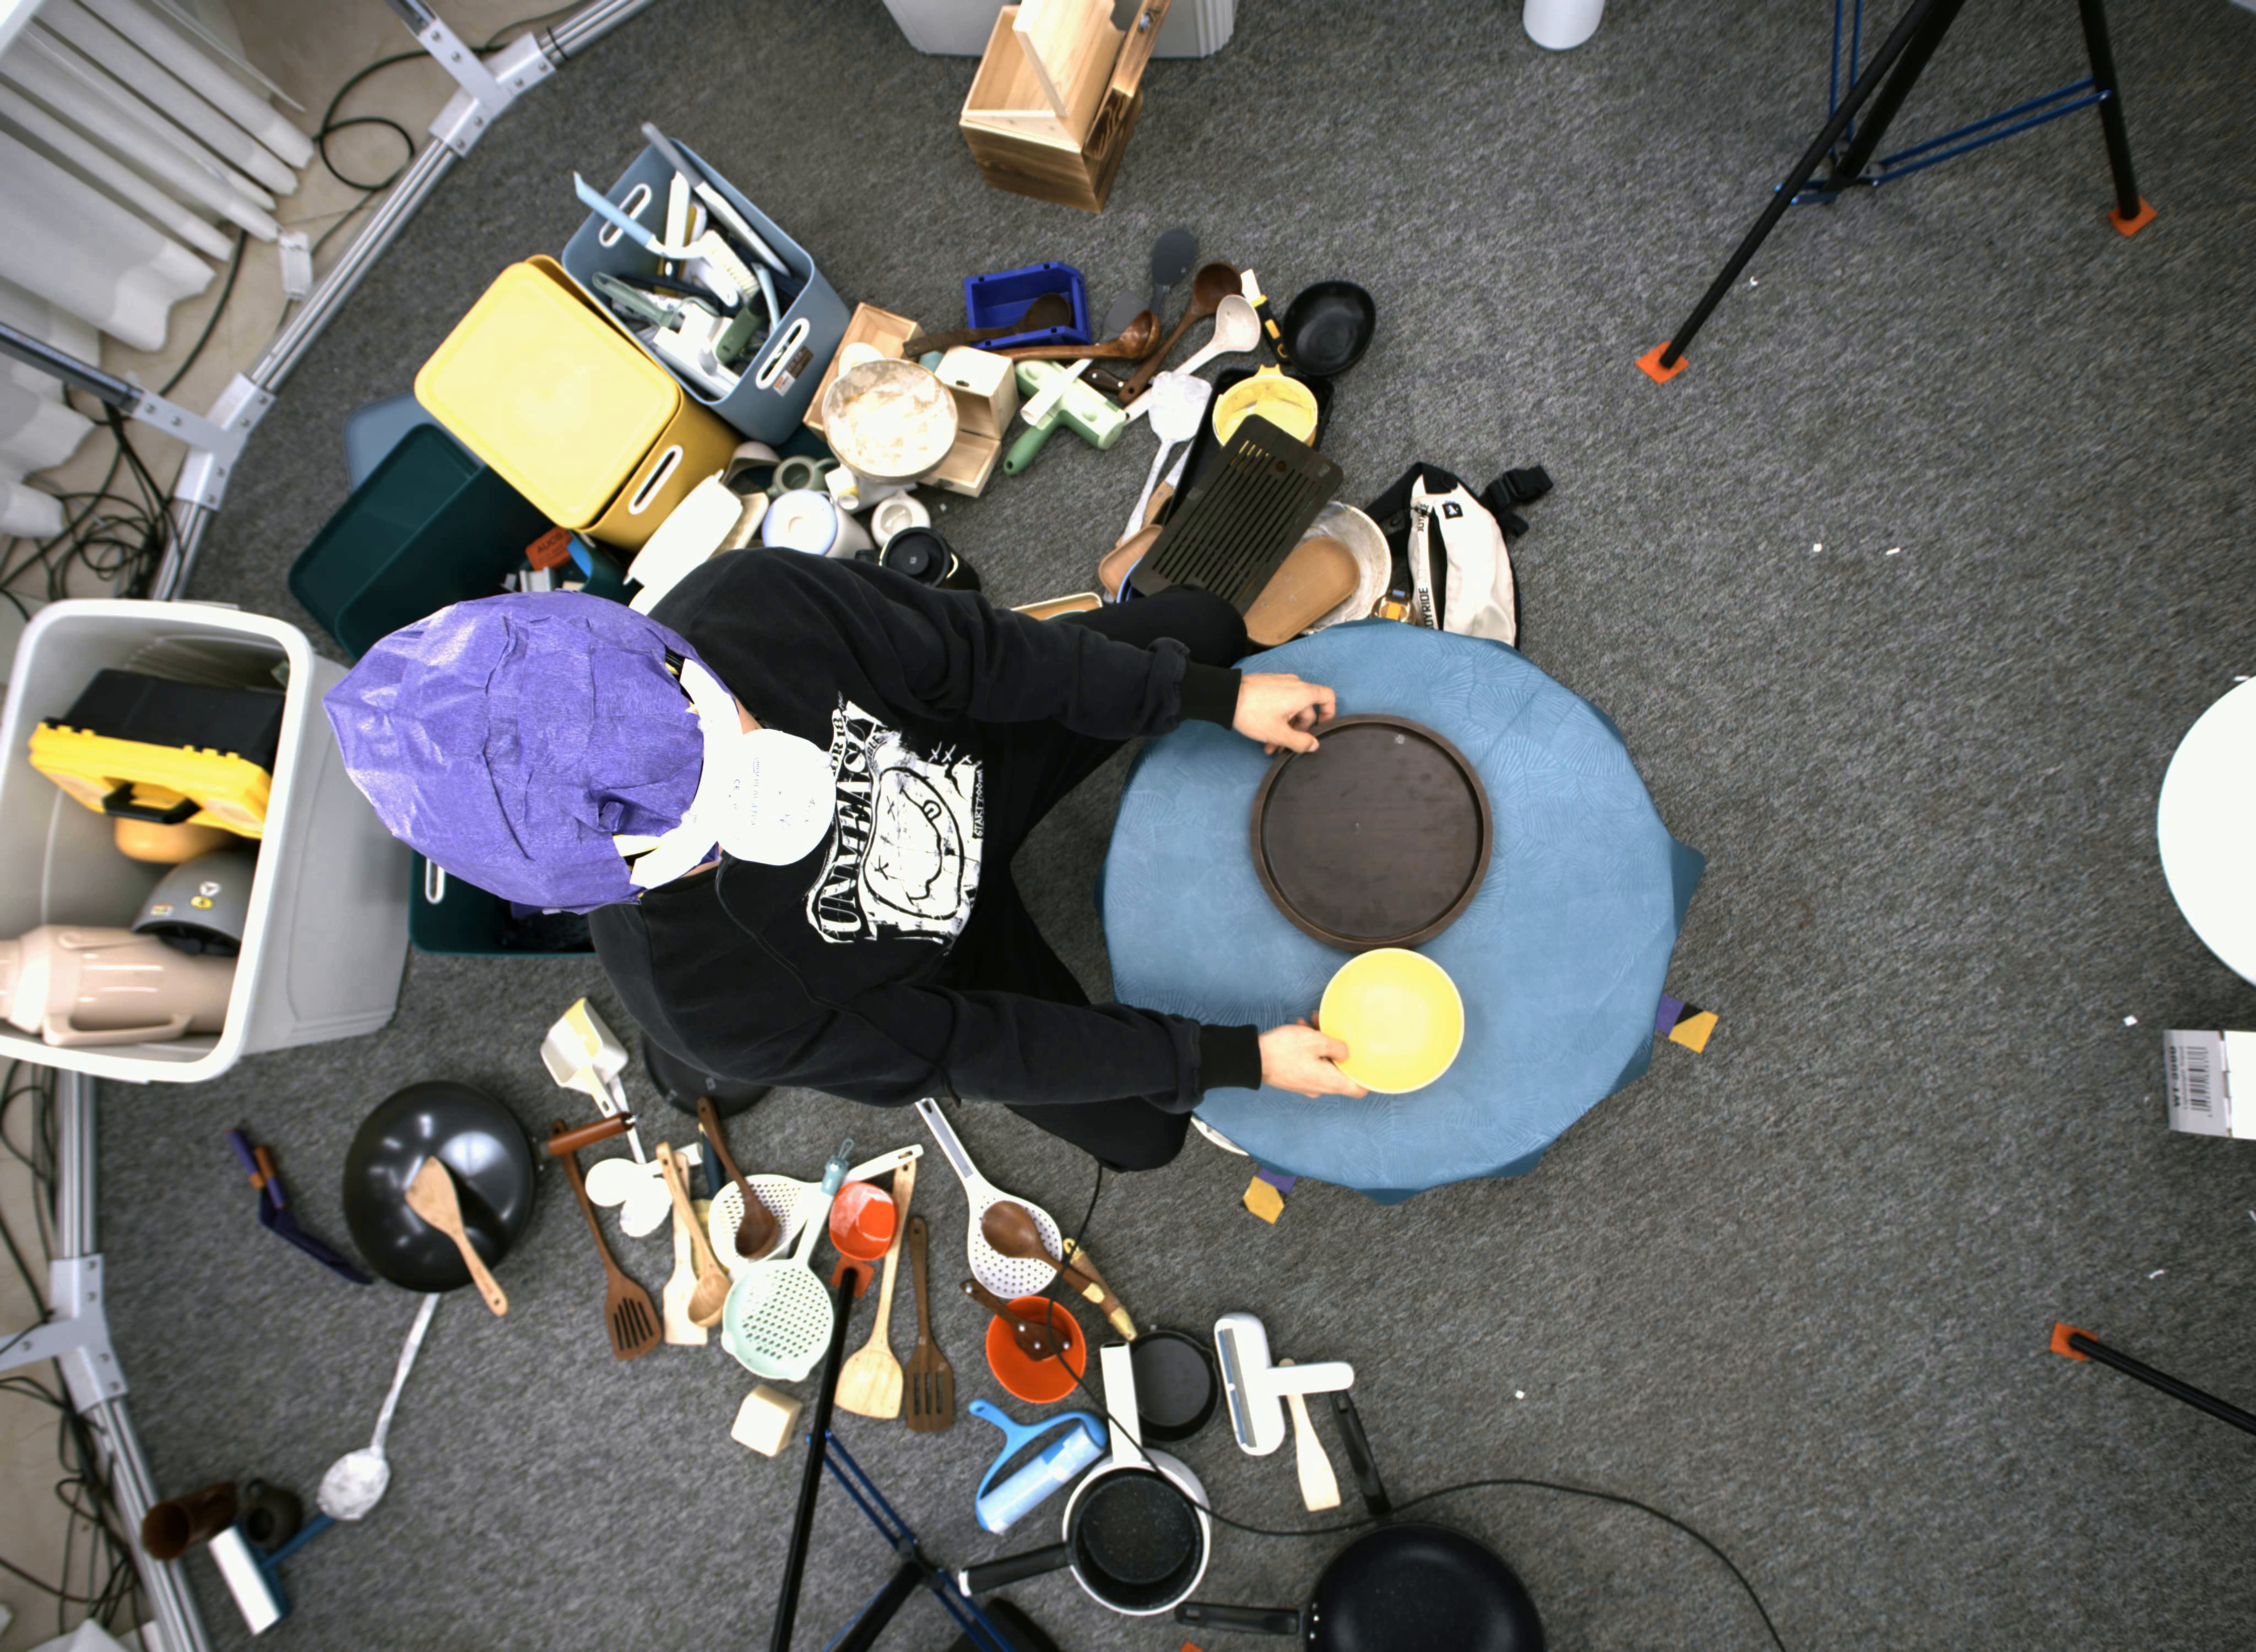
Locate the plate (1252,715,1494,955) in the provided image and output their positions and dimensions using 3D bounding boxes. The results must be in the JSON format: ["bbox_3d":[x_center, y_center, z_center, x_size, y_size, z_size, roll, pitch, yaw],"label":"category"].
[{"bbox_3d":[0.257,0.008,1.457,0.256,0.029,0.254,0,89,10],"label":"plate"}]

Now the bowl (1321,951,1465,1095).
[{"bbox_3d":[0.272,0.201,1.425,0.146,0.060,0.144,-1,84,10],"label":"bowl"}]
